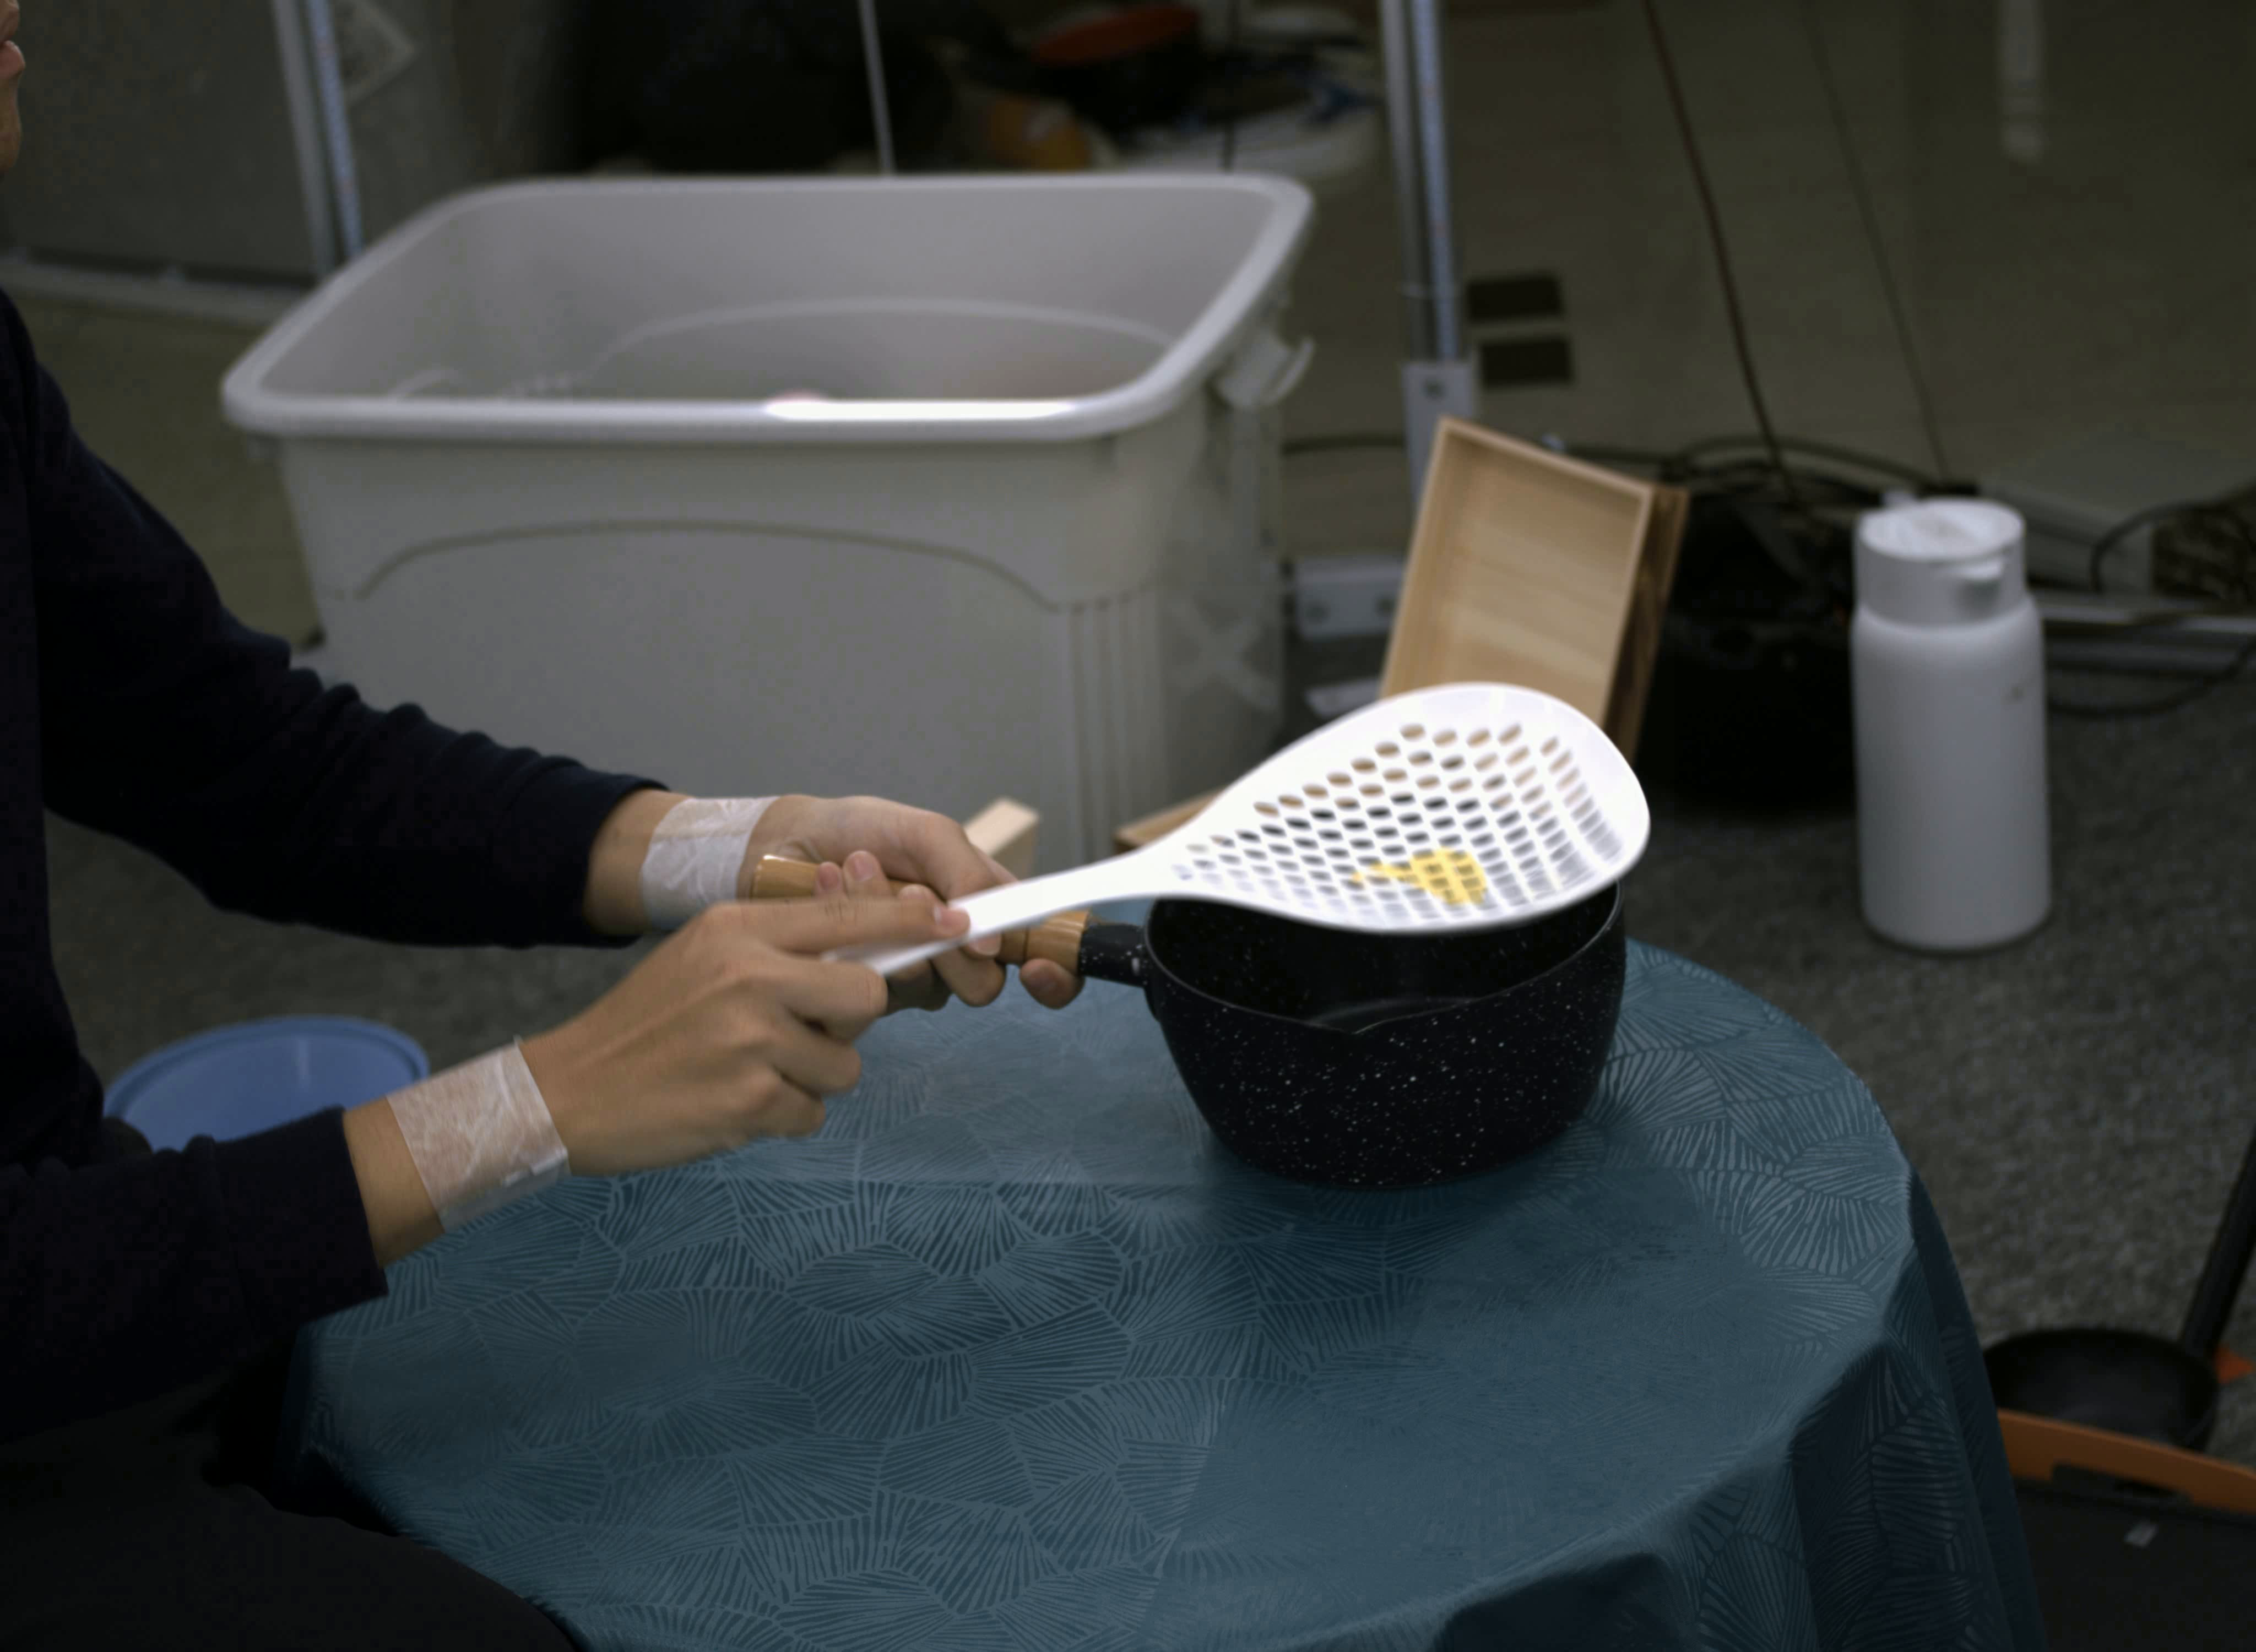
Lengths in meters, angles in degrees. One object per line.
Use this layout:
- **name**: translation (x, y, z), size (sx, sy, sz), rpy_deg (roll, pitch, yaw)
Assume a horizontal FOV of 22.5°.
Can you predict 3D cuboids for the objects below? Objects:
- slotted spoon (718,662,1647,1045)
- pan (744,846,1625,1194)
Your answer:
- **slotted spoon**: translation (0.018, 0.020, 2.045), size (0.347, 0.051, 0.134), rpy_deg (-11, 41, -16)
- **pan**: translation (0.021, 0.058, 2.181), size (0.342, 0.110, 0.204), rpy_deg (0, 29, 11)
